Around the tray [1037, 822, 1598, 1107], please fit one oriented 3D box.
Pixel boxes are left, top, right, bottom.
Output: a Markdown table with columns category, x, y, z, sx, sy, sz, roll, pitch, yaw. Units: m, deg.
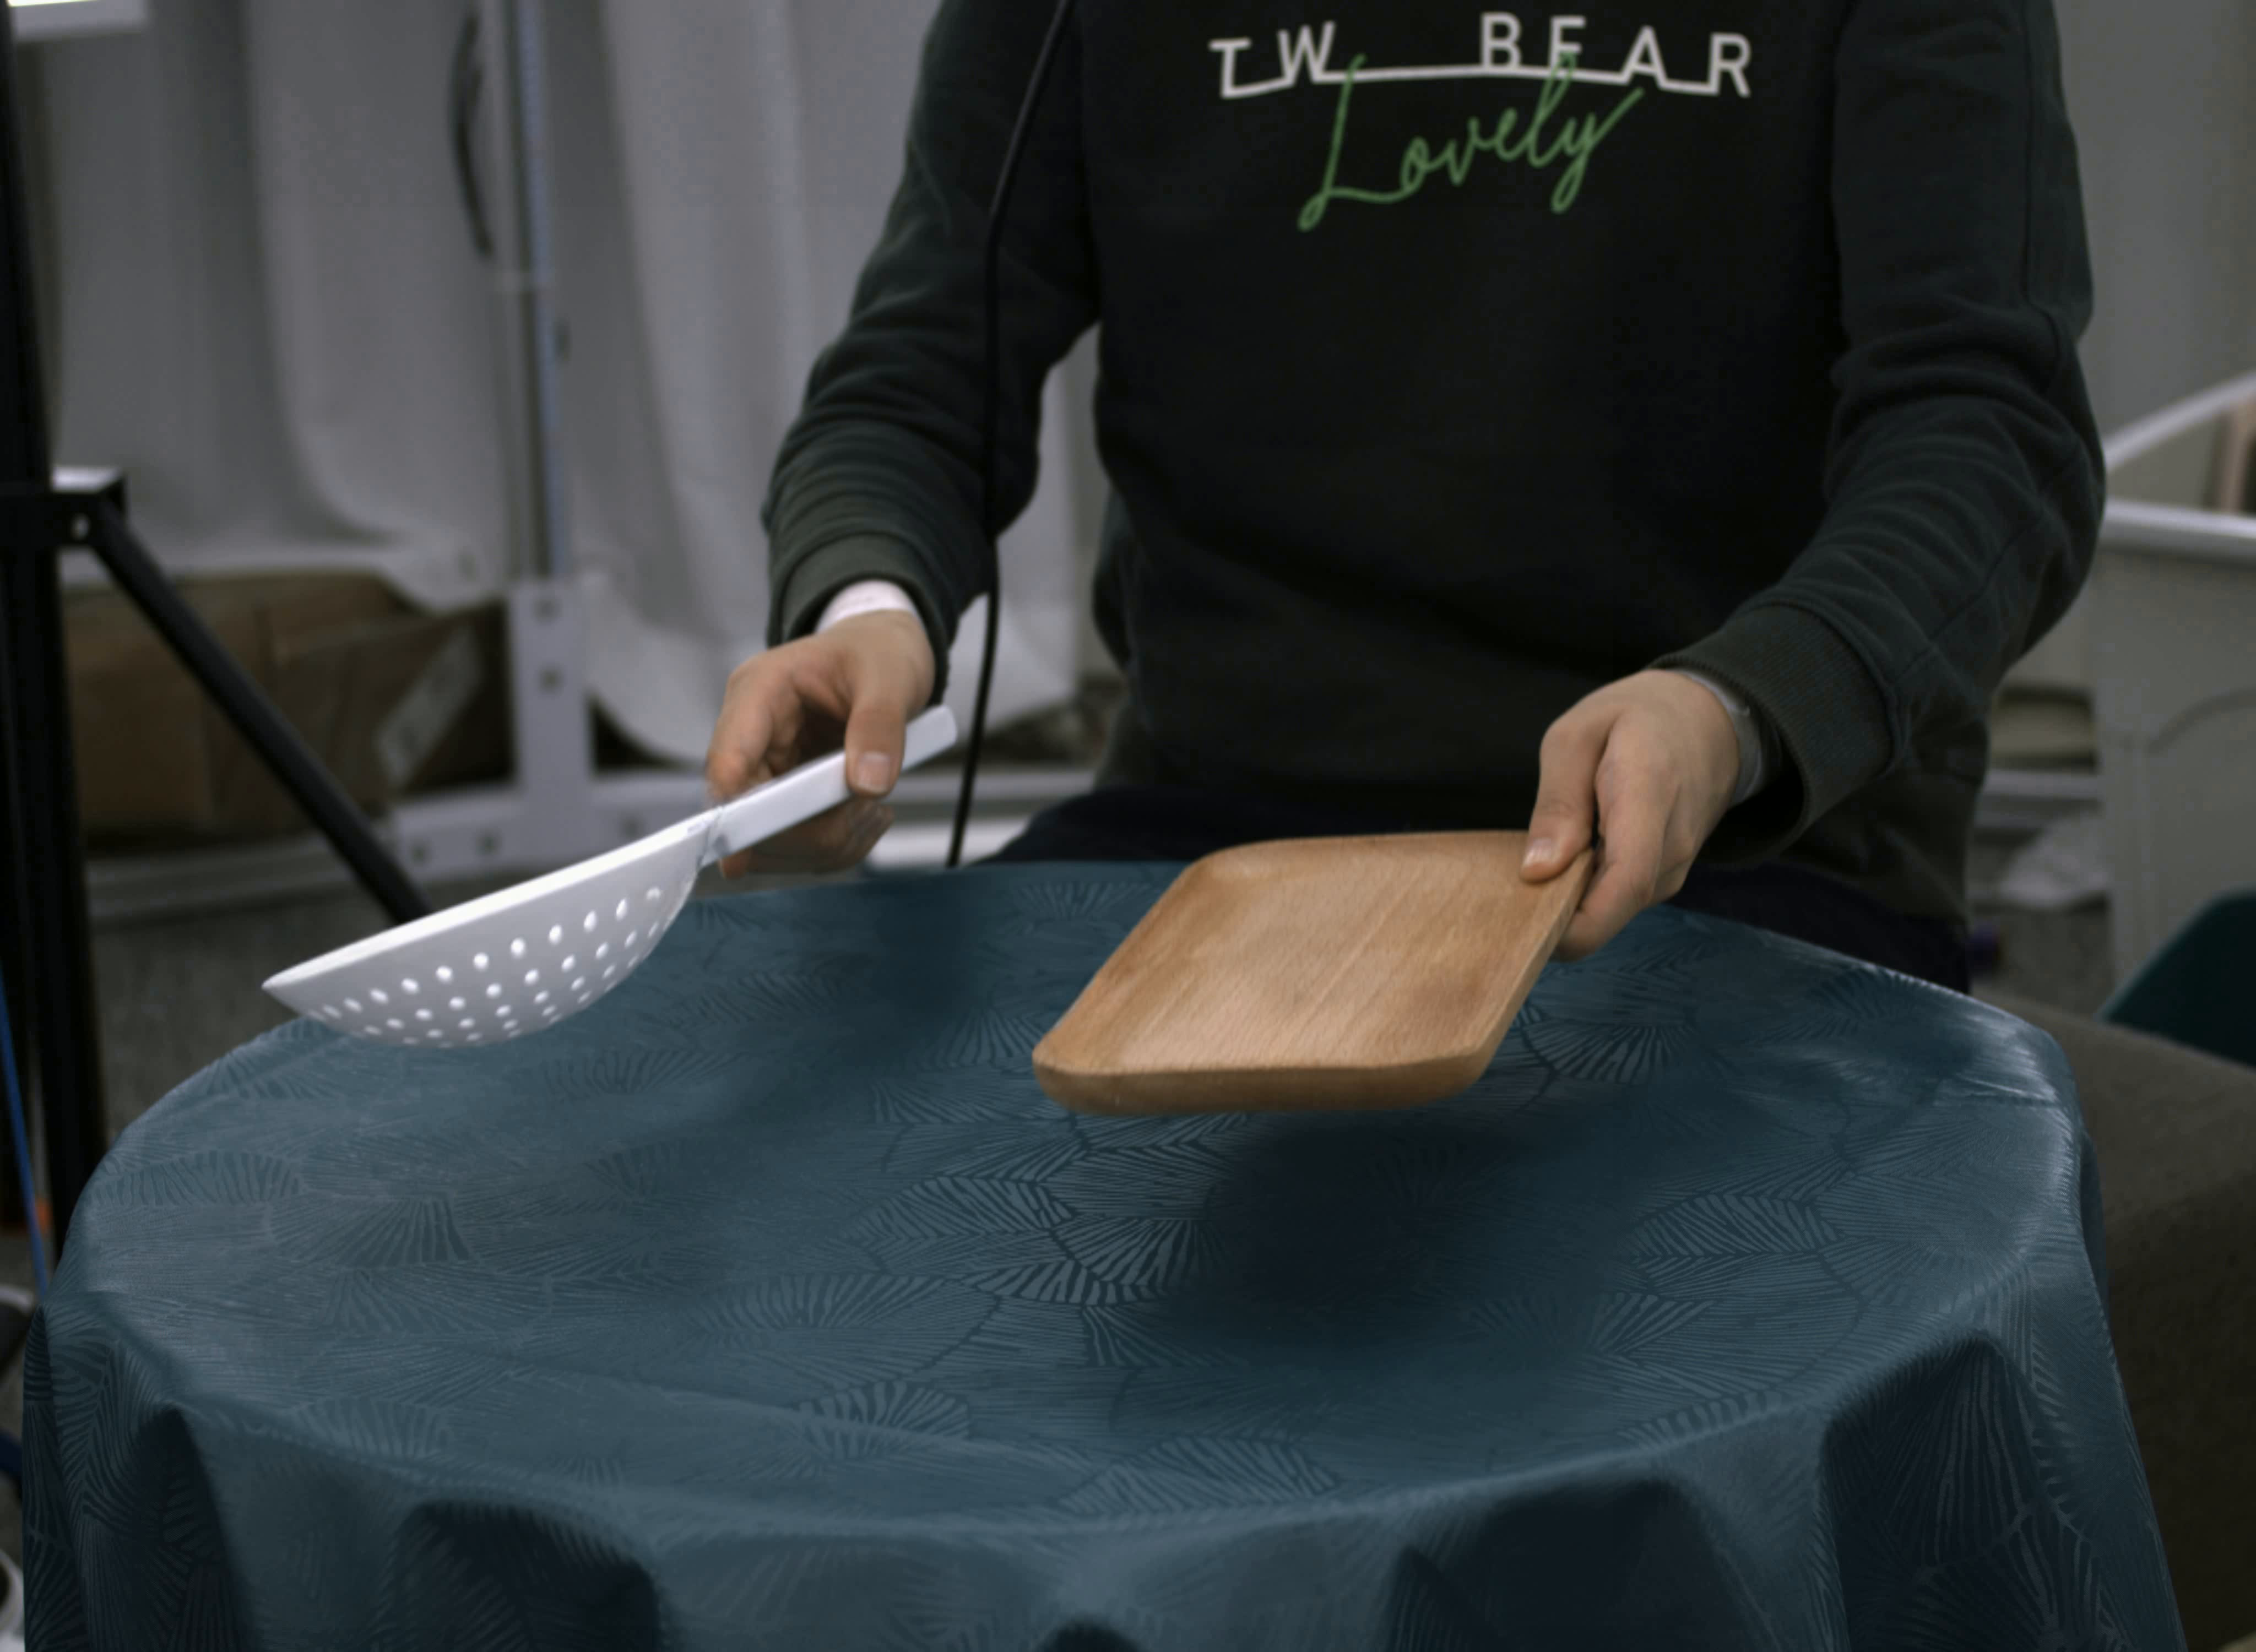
| category | x | y | z | sx | sy | sz | roll | pitch | yaw |
| --- | --- | --- | --- | --- | --- | --- | --- | --- | --- |
| tray | 0.059 | 0.038 | 1.524 | 0.131 | 0.023 | 0.249 | 0 | 13 | 14 |

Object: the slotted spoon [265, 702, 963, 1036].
| category | x | y | z | sx | sy | sz | roll | pitch | yaw |
| --- | --- | --- | --- | --- | --- | --- | --- | --- | --- |
| slotted spoon | -0.137 | 0.004 | 1.633 | 0.138 | 0.046 | 0.345 | -17 | 9 | 27 |
